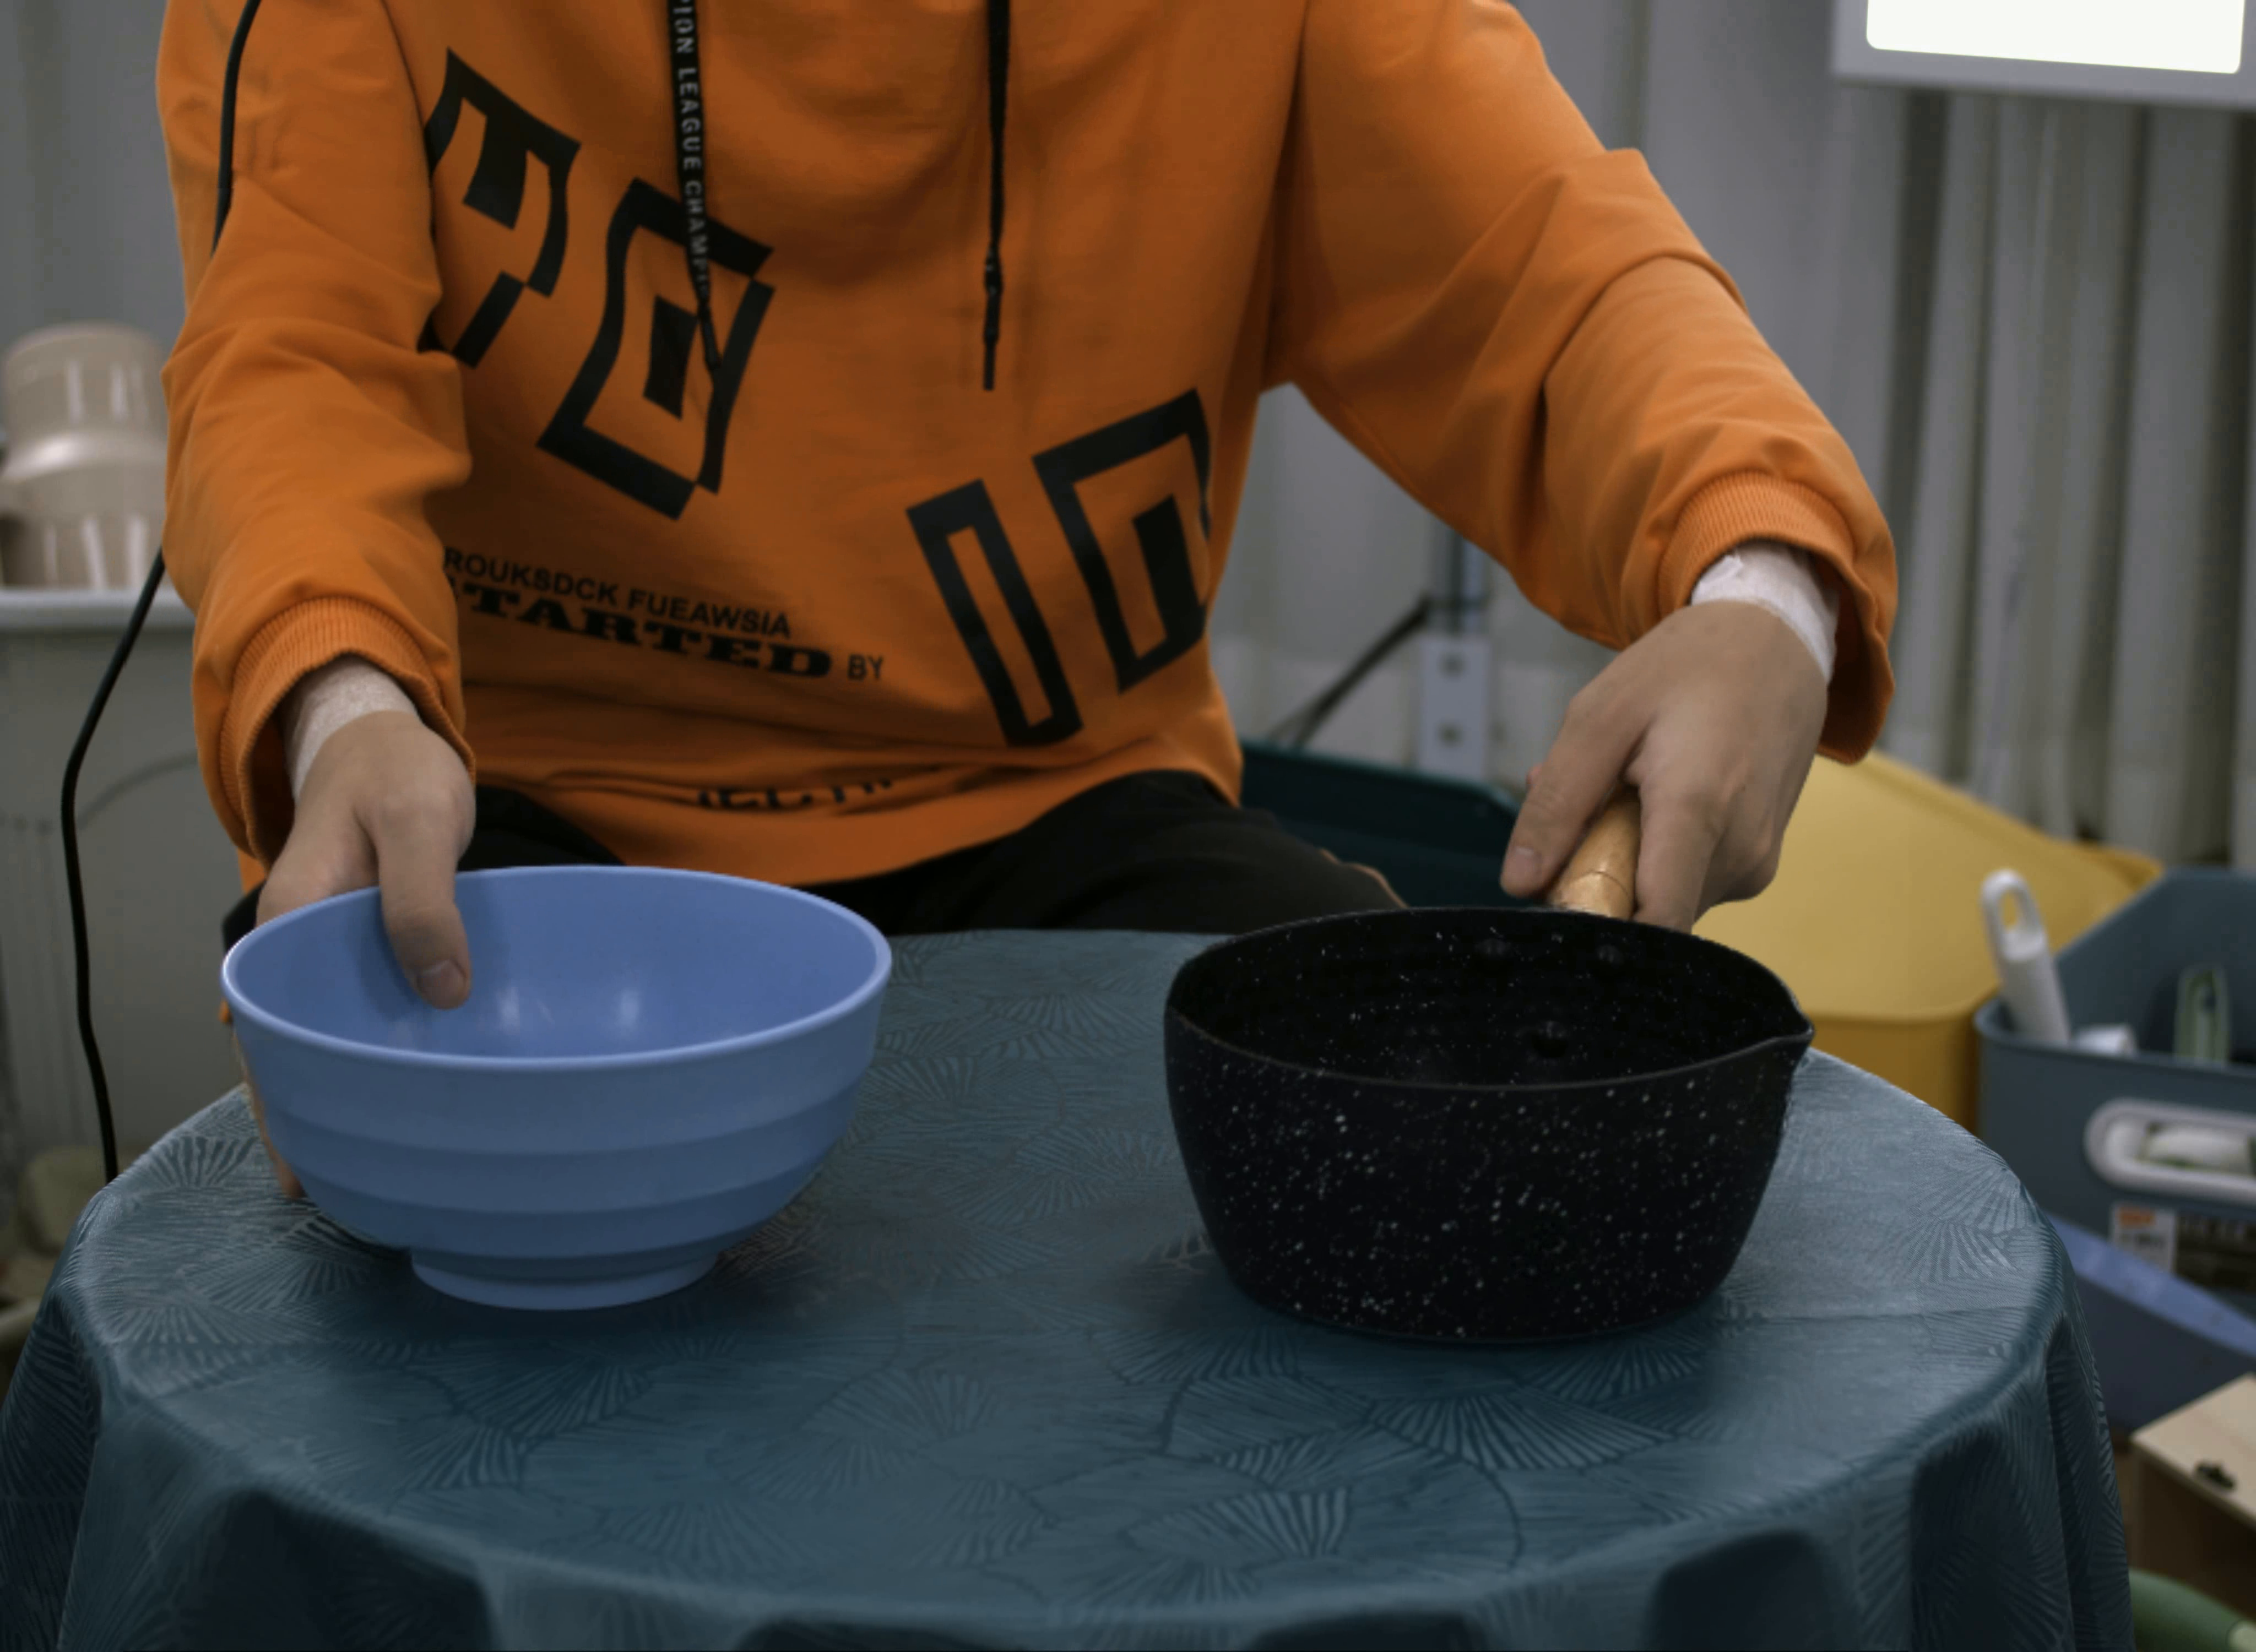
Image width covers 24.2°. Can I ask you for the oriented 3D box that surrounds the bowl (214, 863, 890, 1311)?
[{"bbox_3d":[-0.167,0.082,1.547,0.196,0.096,0.195,0,16,1],"label":"bowl"}]

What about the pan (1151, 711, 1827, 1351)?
[{"bbox_3d":[0.127,0.057,1.621,0.205,0.109,0.343,4,17,17],"label":"pan"}]
